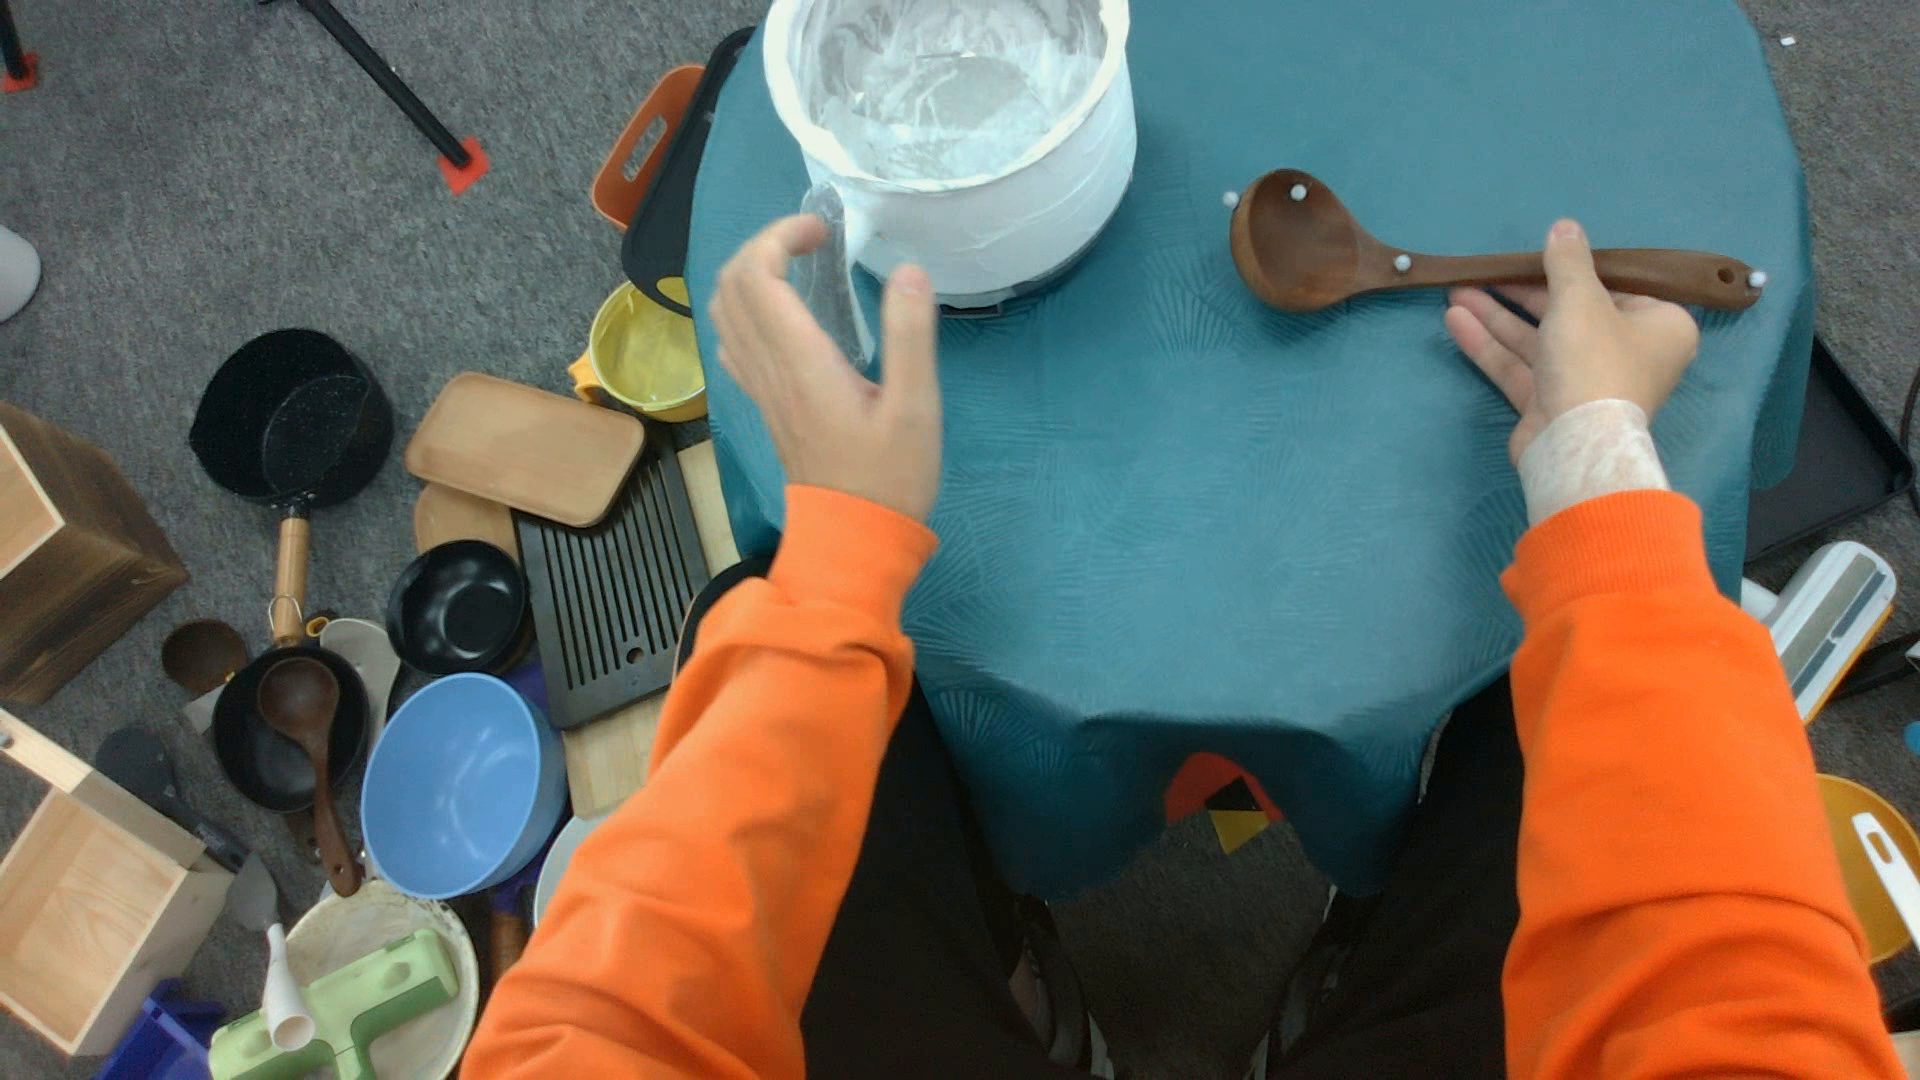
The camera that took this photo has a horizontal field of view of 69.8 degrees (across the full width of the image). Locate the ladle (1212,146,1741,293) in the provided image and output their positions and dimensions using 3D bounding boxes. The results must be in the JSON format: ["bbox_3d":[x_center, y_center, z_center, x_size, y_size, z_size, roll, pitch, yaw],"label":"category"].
[{"bbox_3d":[0.258,-0.153,0.689,0.260,0.065,0.076,6,80,12],"label":"ladle"}]

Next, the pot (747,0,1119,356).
[{"bbox_3d":[-0.021,-0.210,0.714,0.178,0.136,0.234,28,78,17],"label":"pot"}]
